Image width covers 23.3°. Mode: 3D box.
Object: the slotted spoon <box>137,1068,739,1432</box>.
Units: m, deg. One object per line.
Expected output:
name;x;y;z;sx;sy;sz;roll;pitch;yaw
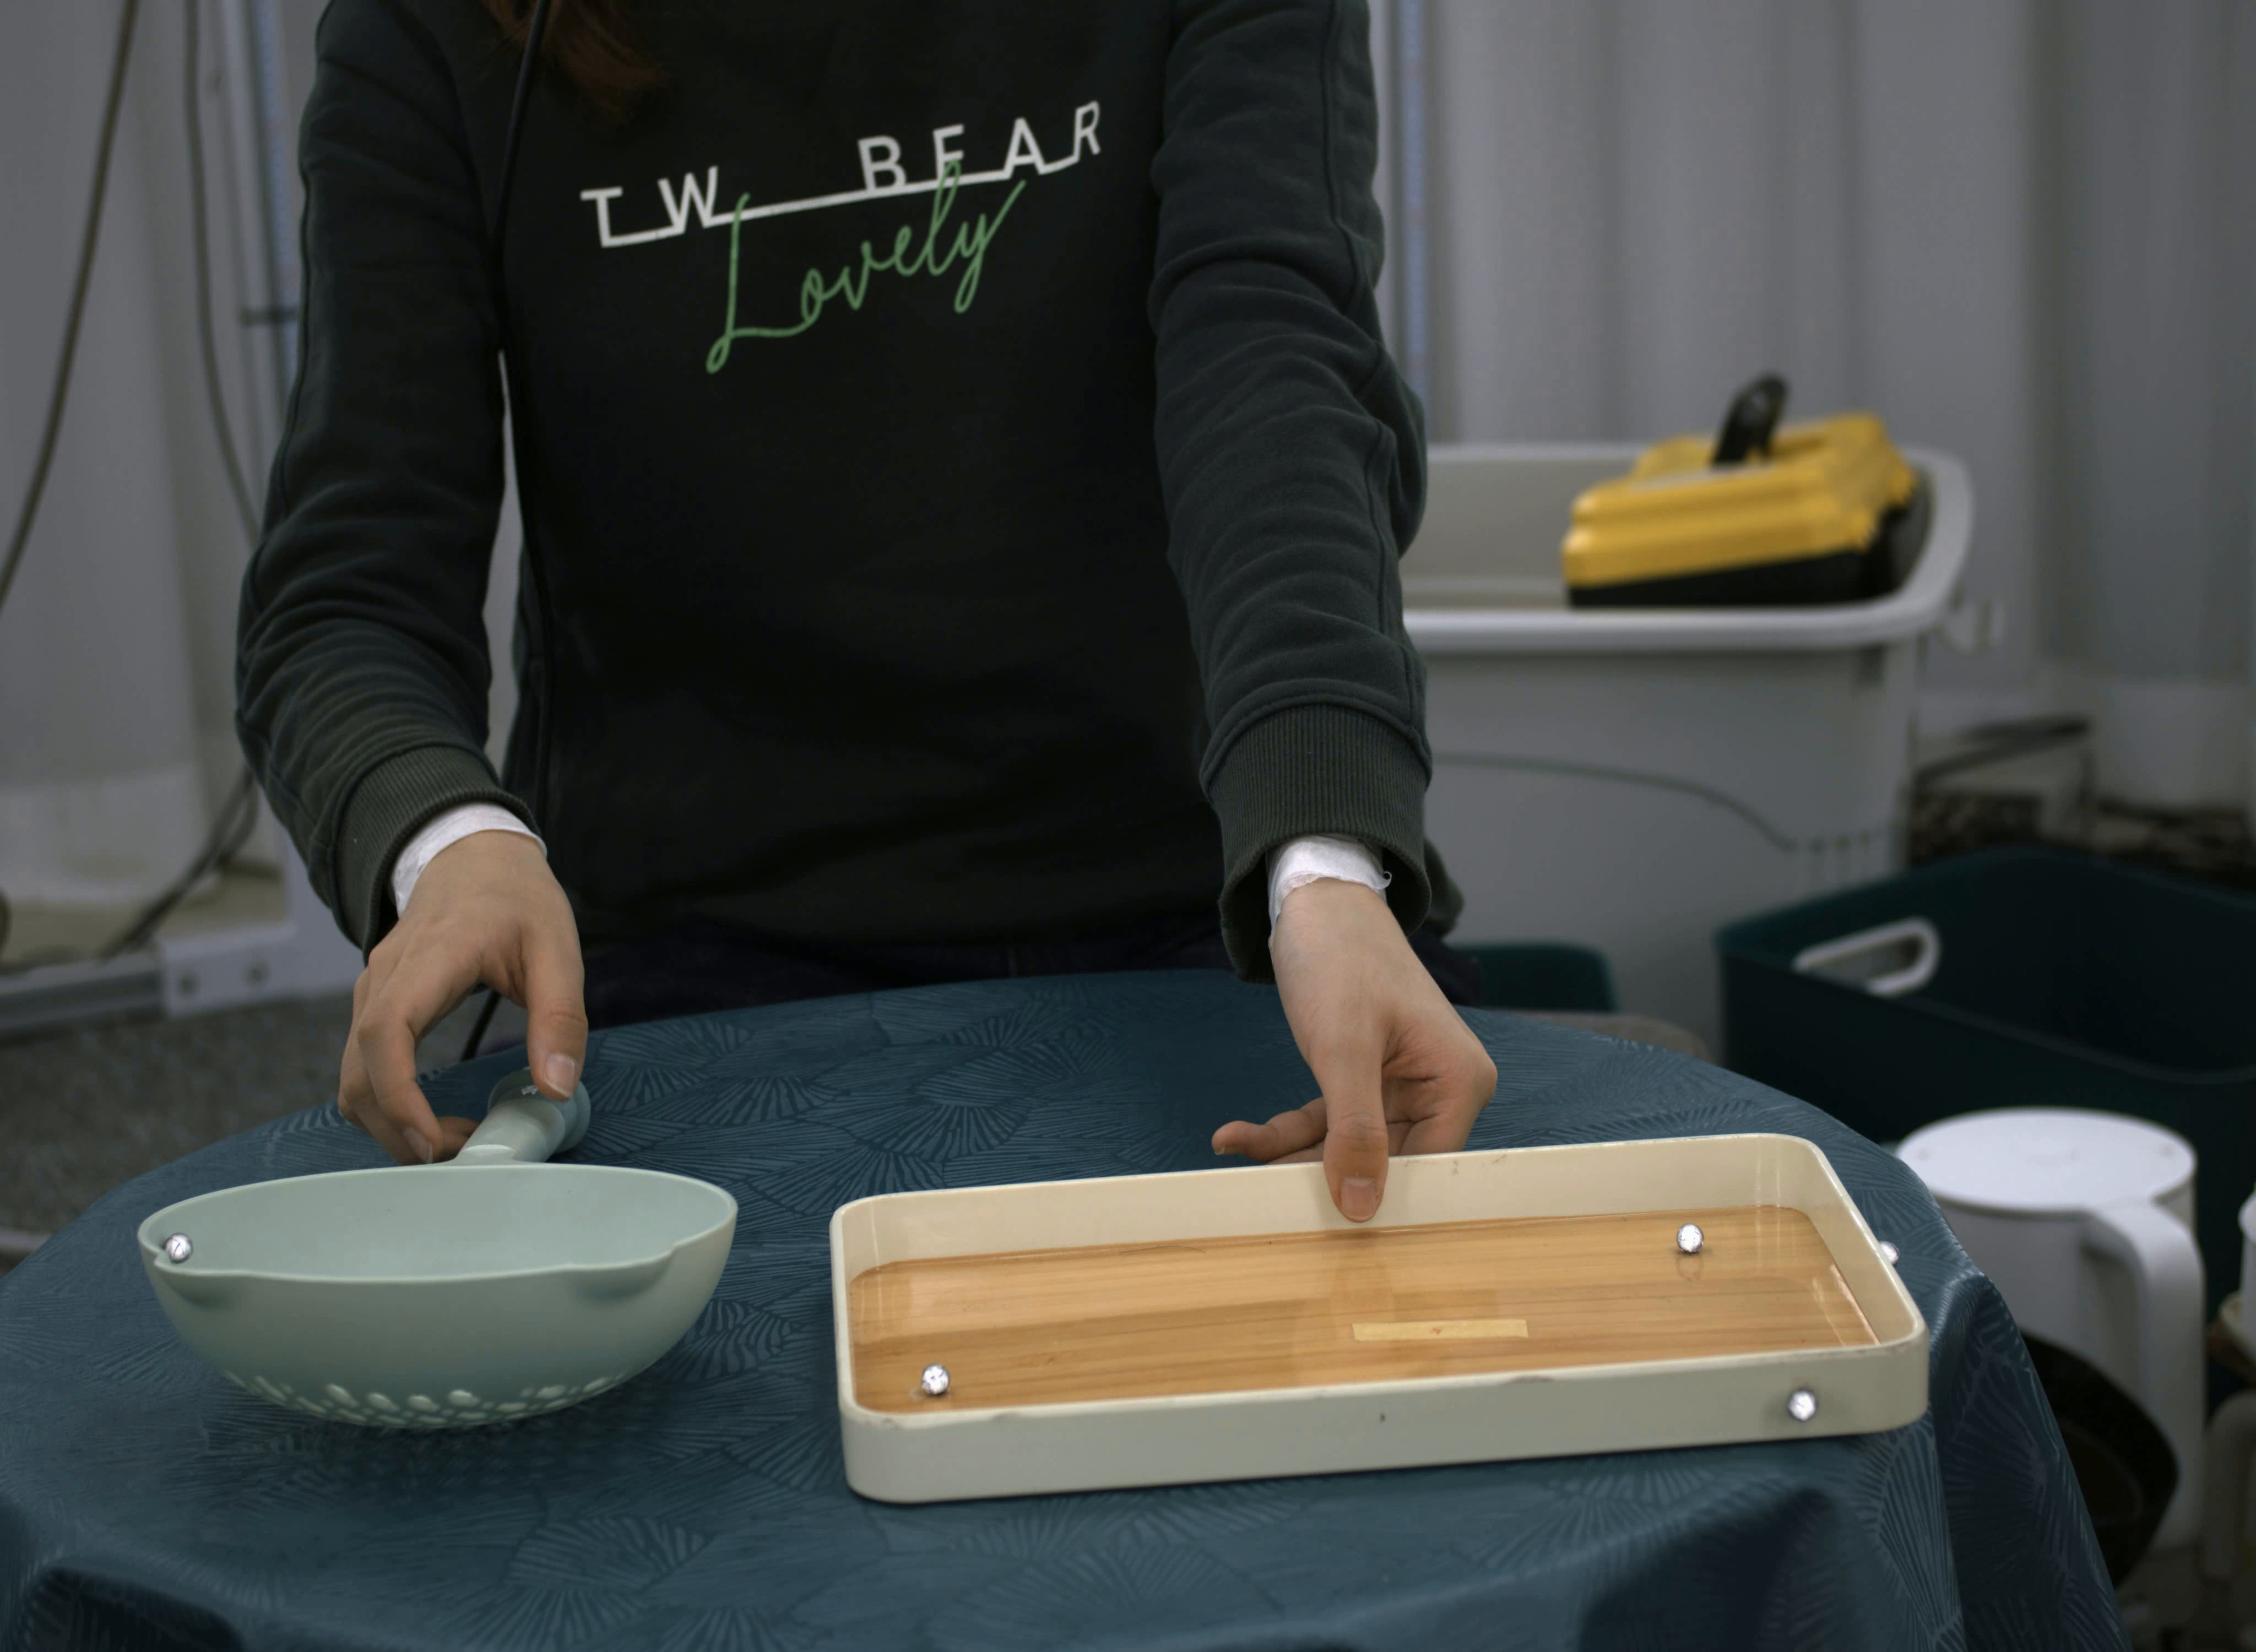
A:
slotted spoon;-0.192;0.111;1.641;0.169;0.075;0.361;0;15;1

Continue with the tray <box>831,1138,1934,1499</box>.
tray;0.066;0.139;1.562;0.299;0.027;0.193;-3;15;-3
